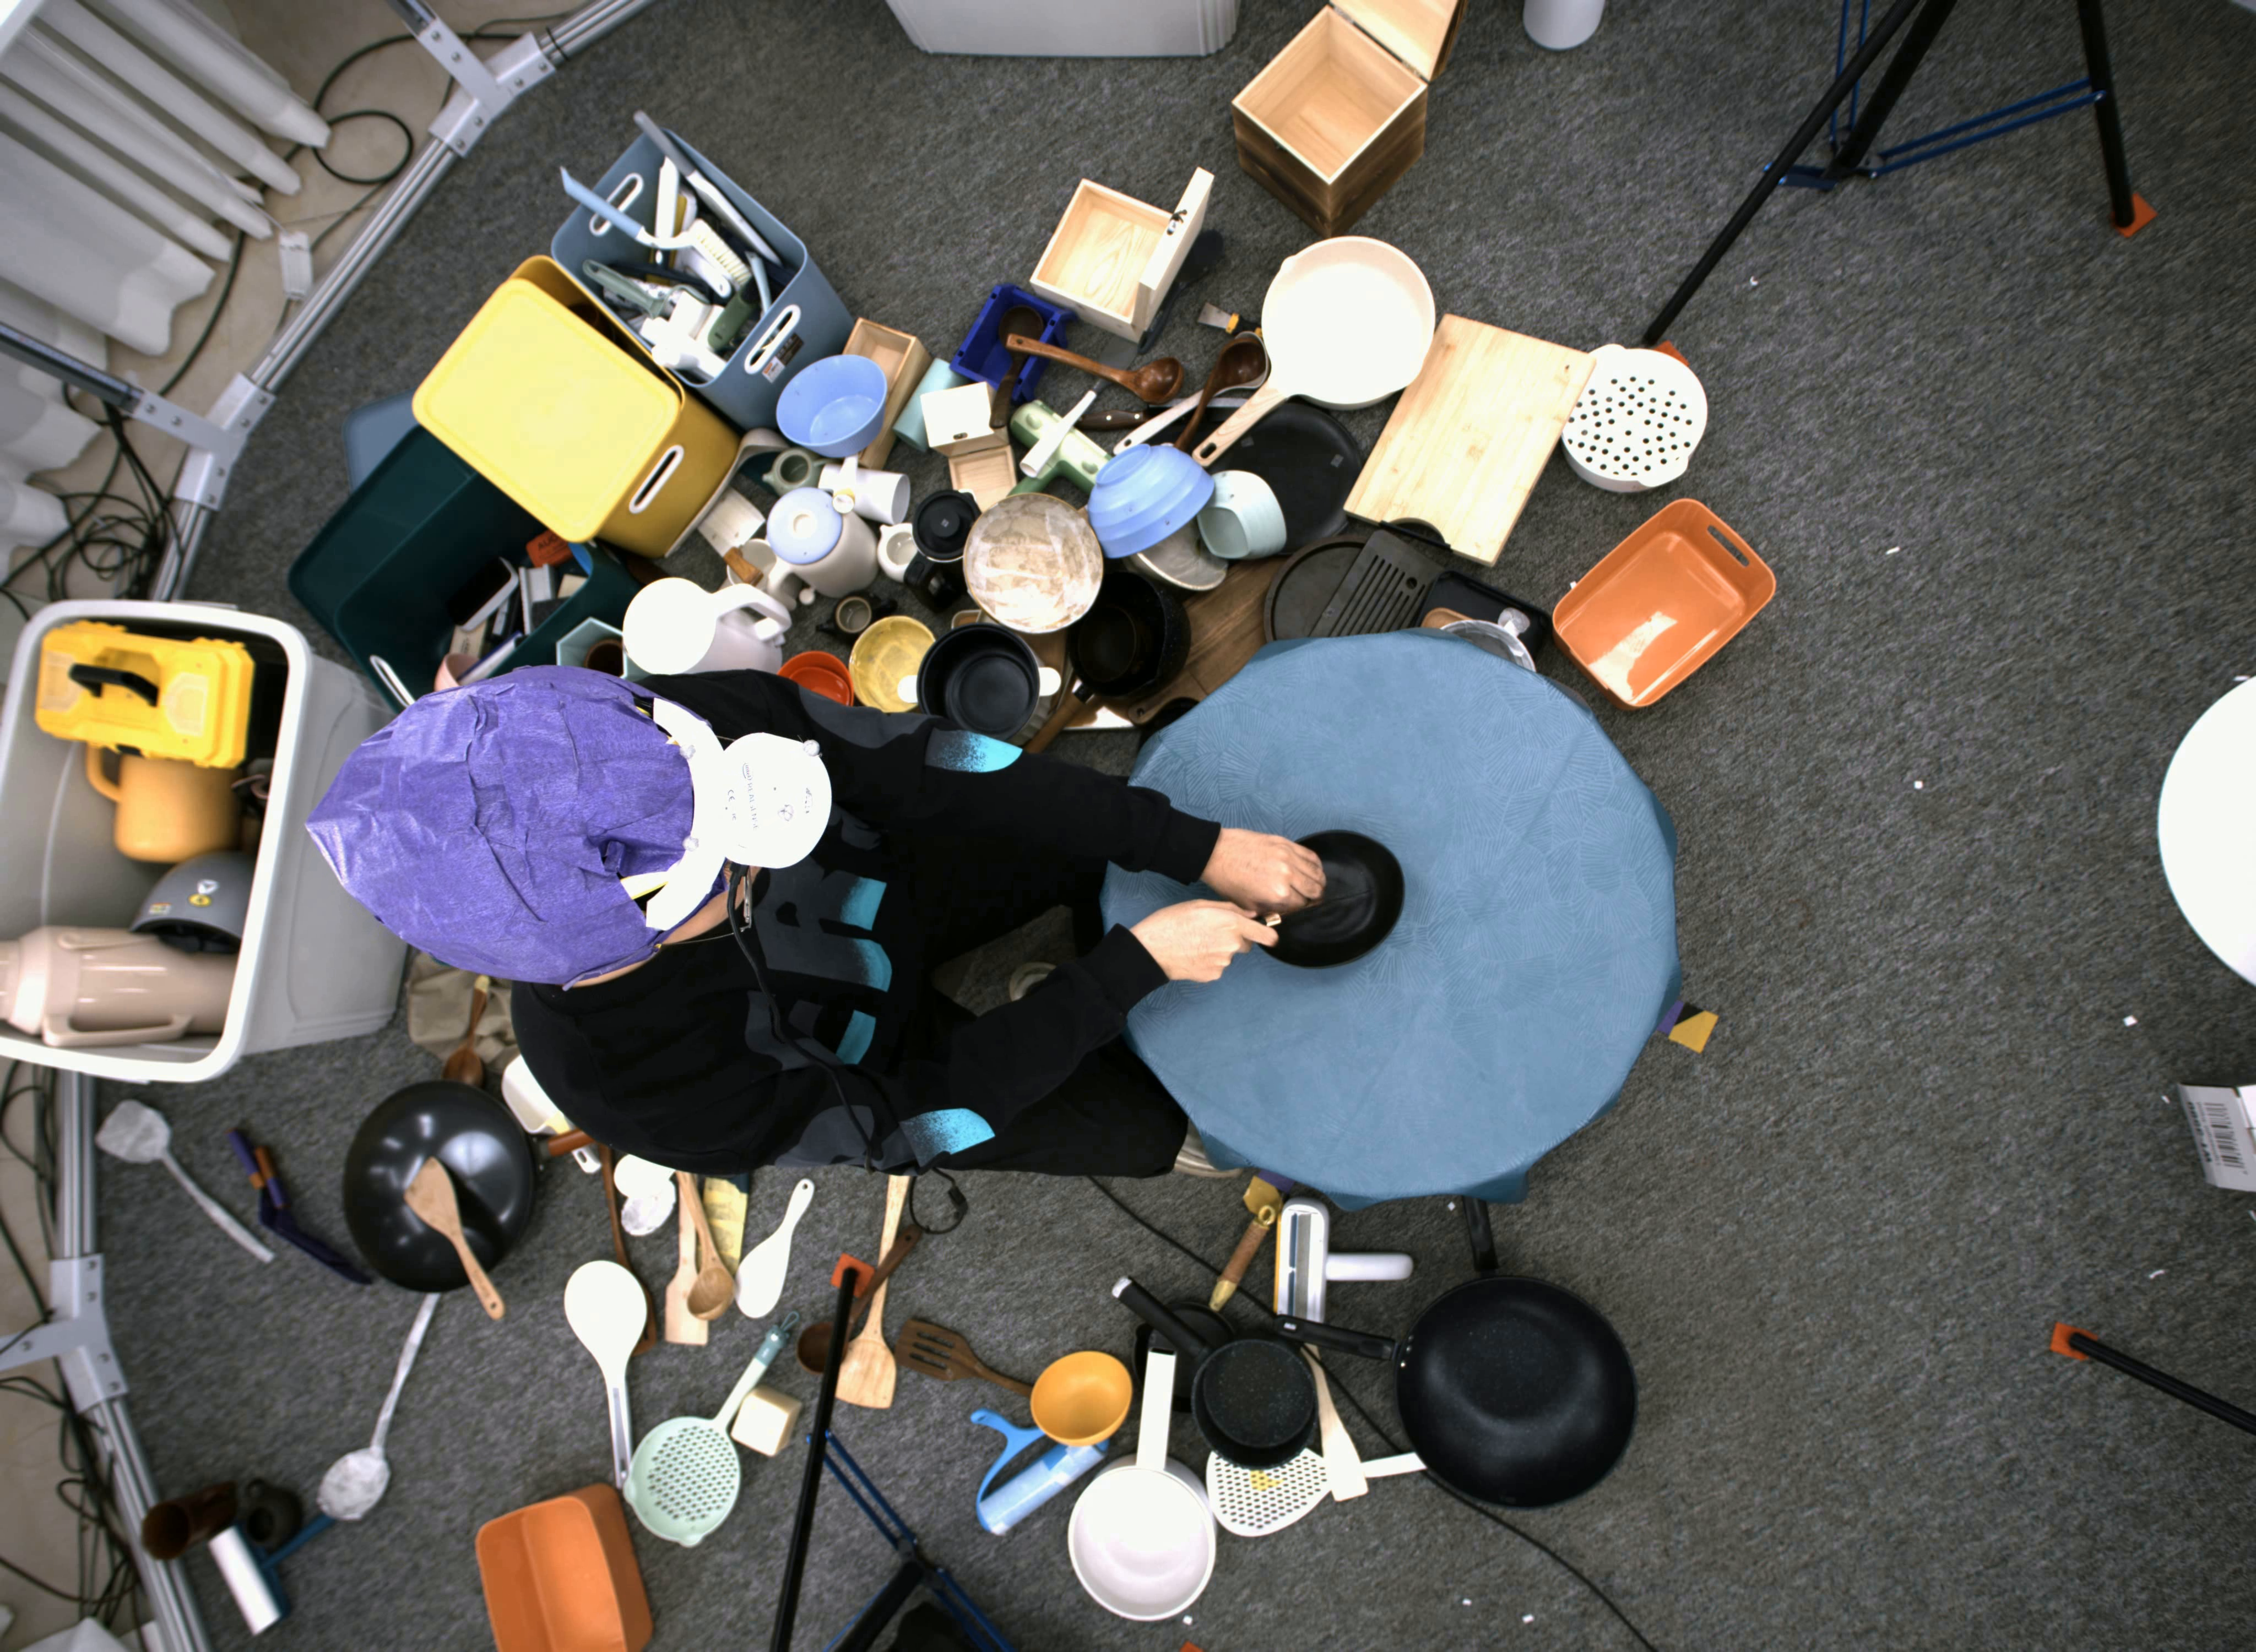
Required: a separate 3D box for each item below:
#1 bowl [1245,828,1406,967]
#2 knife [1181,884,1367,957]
[{"bbox_3d":[0.207,0.077,1.439,0.171,0.066,0.136,-26,82,10],"label":"bowl"},{"bbox_3d":[0.152,0.093,1.411,0.224,0.026,0.017,-17,100,-19],"label":"knife"}]
